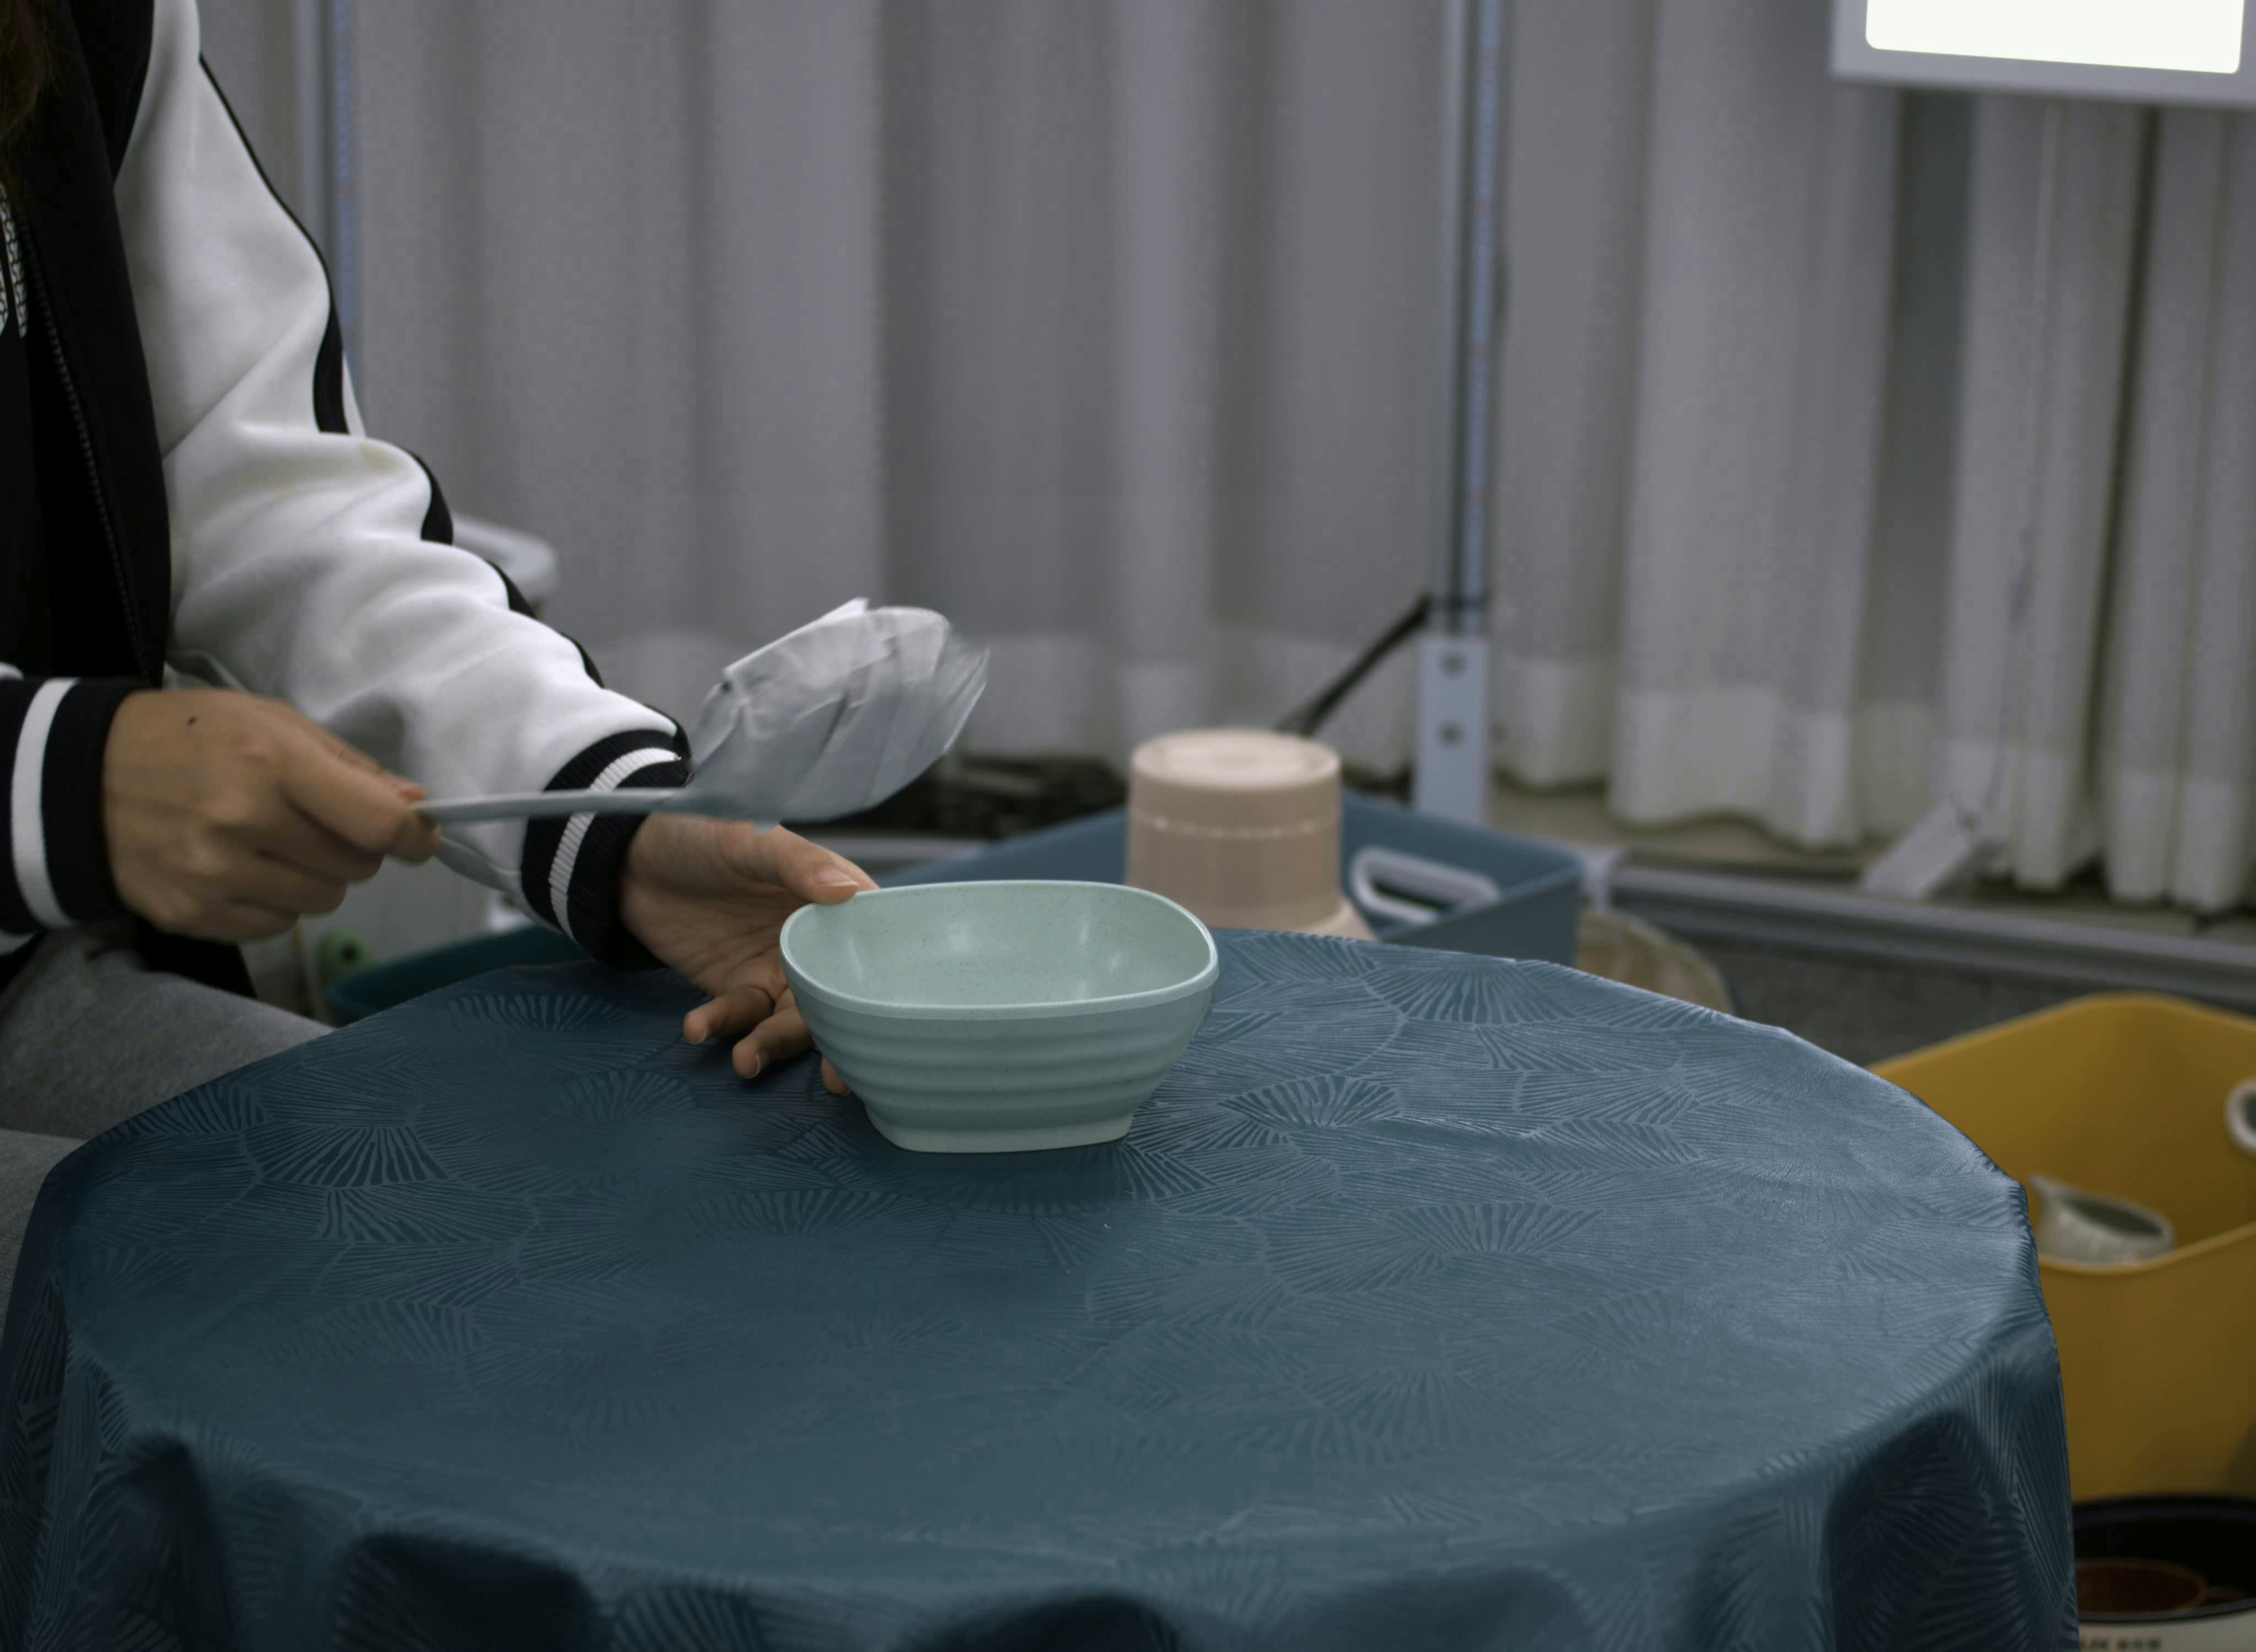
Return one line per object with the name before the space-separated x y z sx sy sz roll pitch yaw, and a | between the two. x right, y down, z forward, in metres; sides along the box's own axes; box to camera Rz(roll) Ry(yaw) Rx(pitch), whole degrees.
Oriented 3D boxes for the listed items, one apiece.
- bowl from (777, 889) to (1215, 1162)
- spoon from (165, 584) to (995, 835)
bowl | -0.042 0.067 1.687 0.151 0.059 0.150 1 15 0
spoon | -0.168 -0.031 1.569 0.274 0.059 0.102 -3 -24 28
